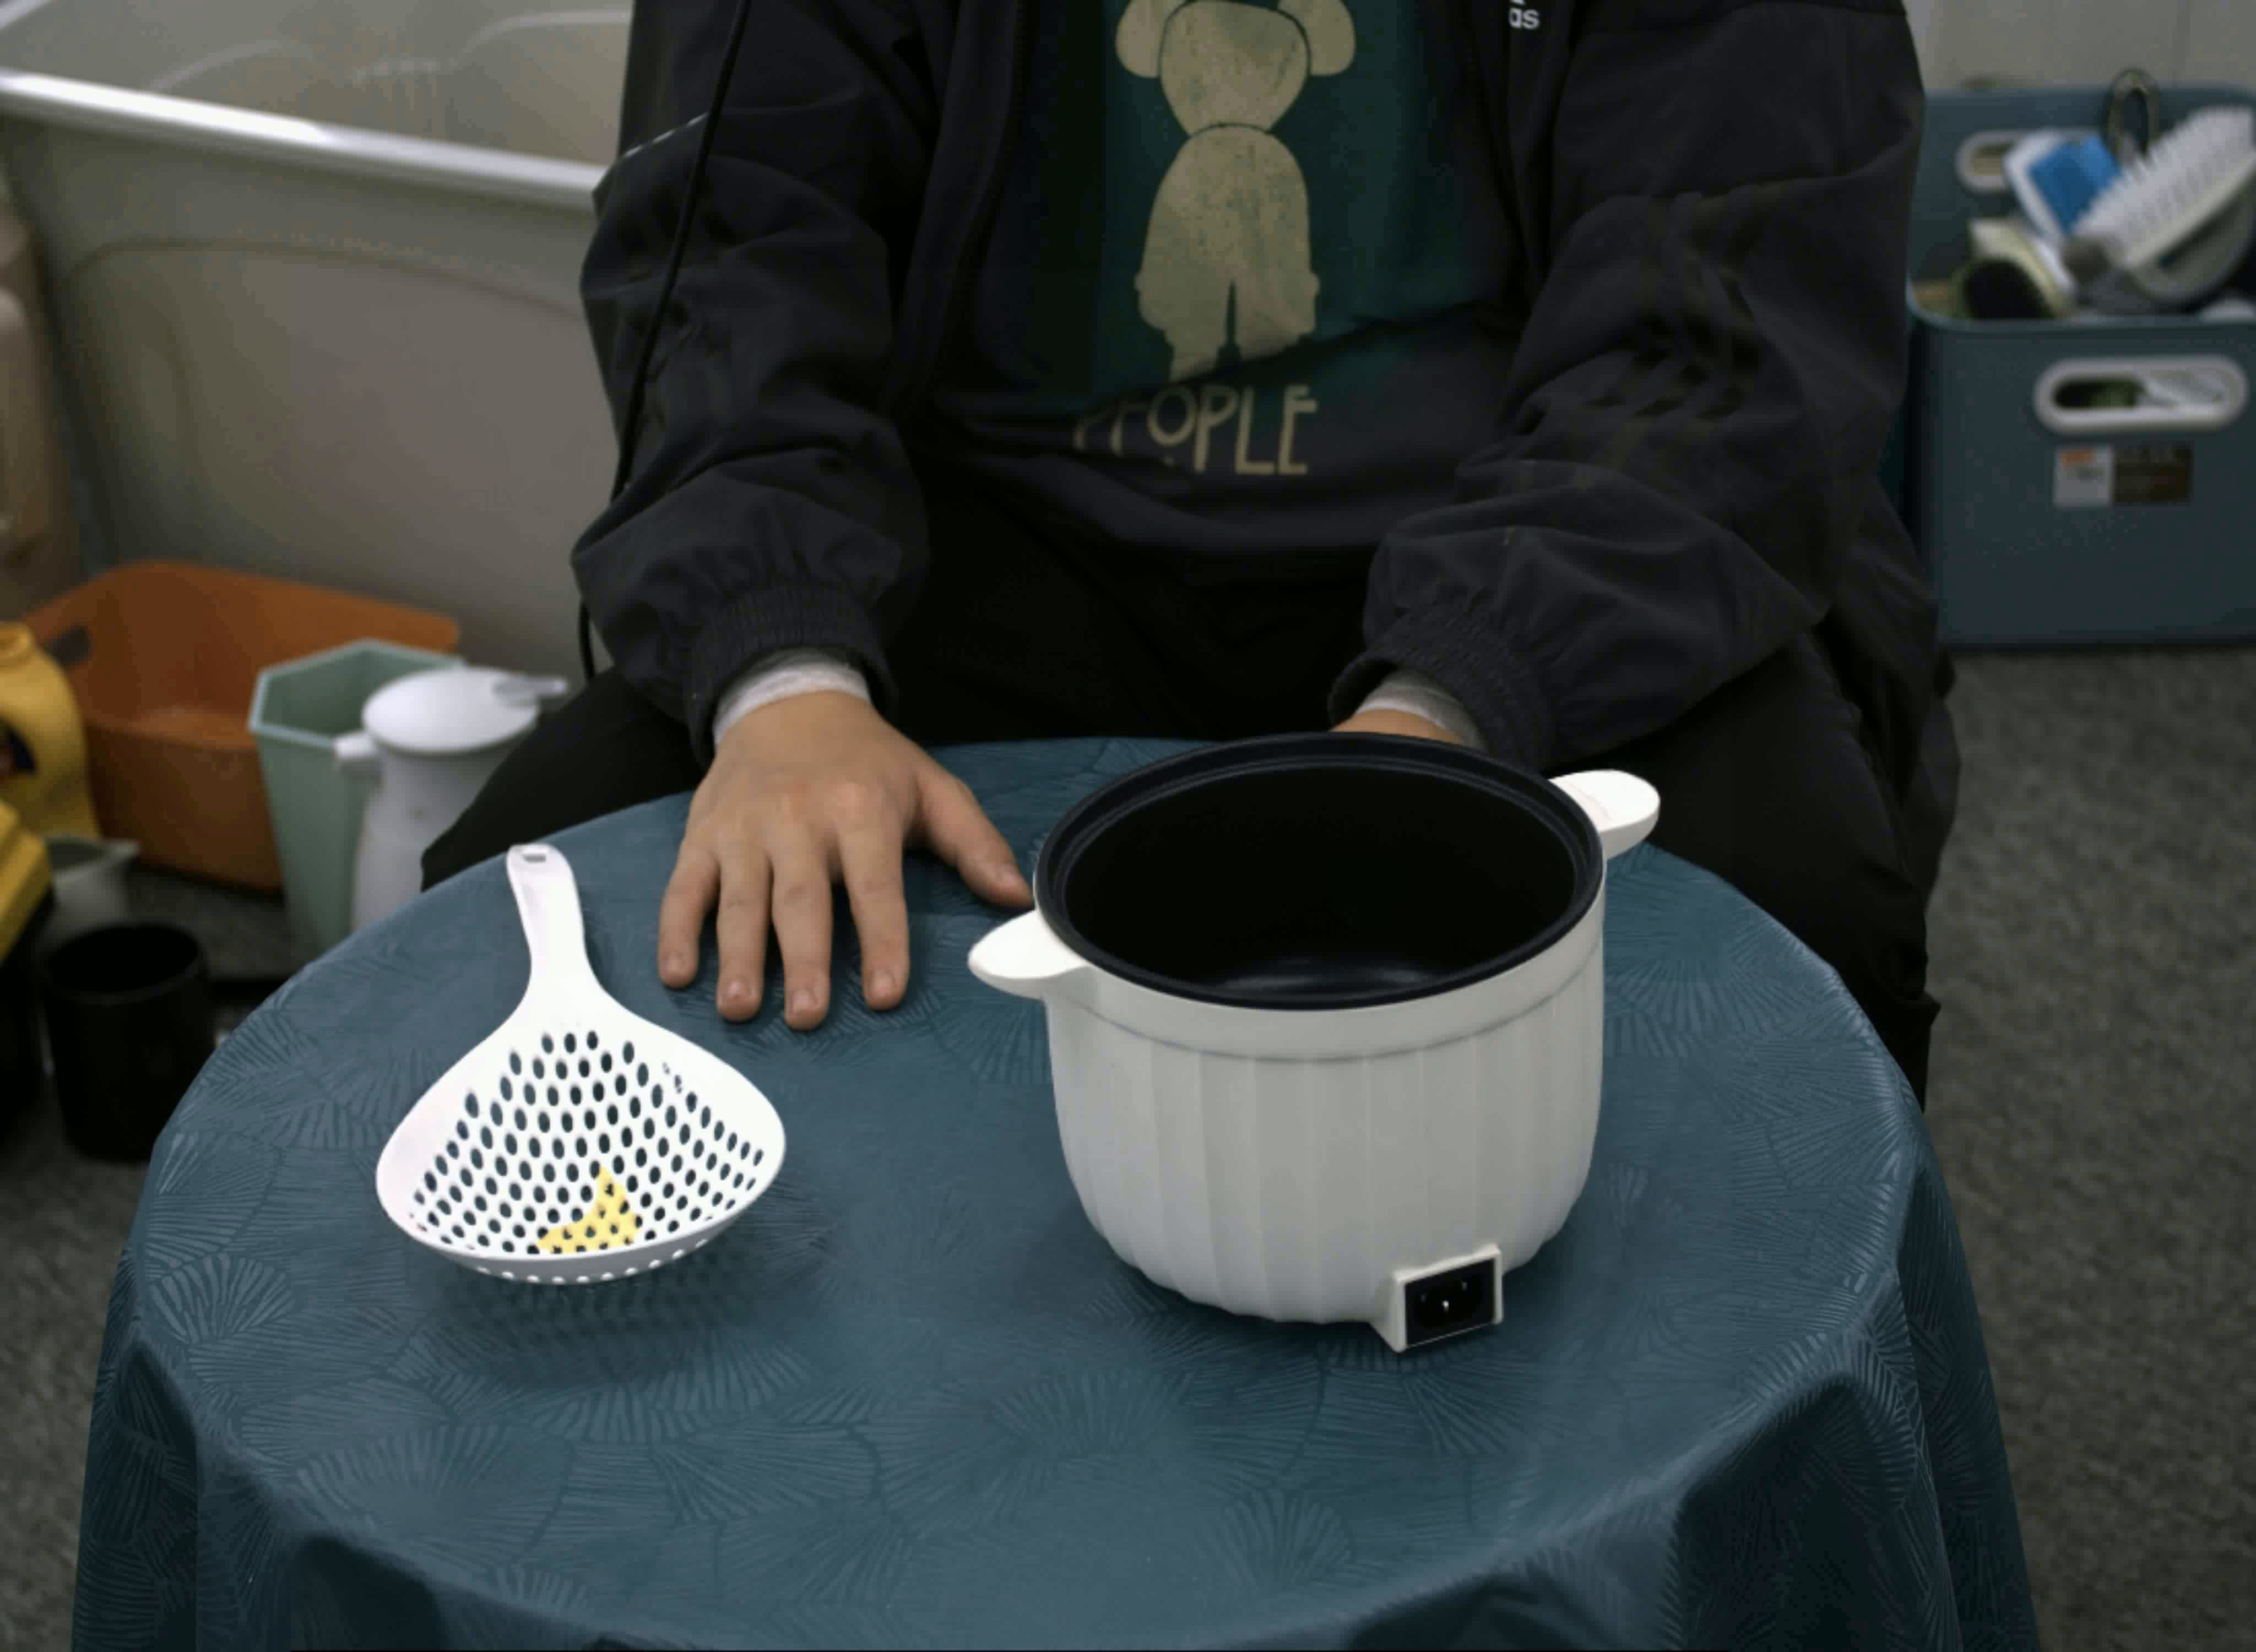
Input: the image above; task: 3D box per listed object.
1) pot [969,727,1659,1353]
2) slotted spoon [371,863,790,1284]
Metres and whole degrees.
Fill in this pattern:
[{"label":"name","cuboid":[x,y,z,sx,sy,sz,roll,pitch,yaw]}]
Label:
[{"label":"pot","cuboid":[0.060,0.067,1.809,0.241,0.141,0.192,-13,31,-22]},{"label":"slotted spoon","cuboid":[-0.194,0.072,1.928,0.136,0.050,0.352,-8,28,-6]}]
